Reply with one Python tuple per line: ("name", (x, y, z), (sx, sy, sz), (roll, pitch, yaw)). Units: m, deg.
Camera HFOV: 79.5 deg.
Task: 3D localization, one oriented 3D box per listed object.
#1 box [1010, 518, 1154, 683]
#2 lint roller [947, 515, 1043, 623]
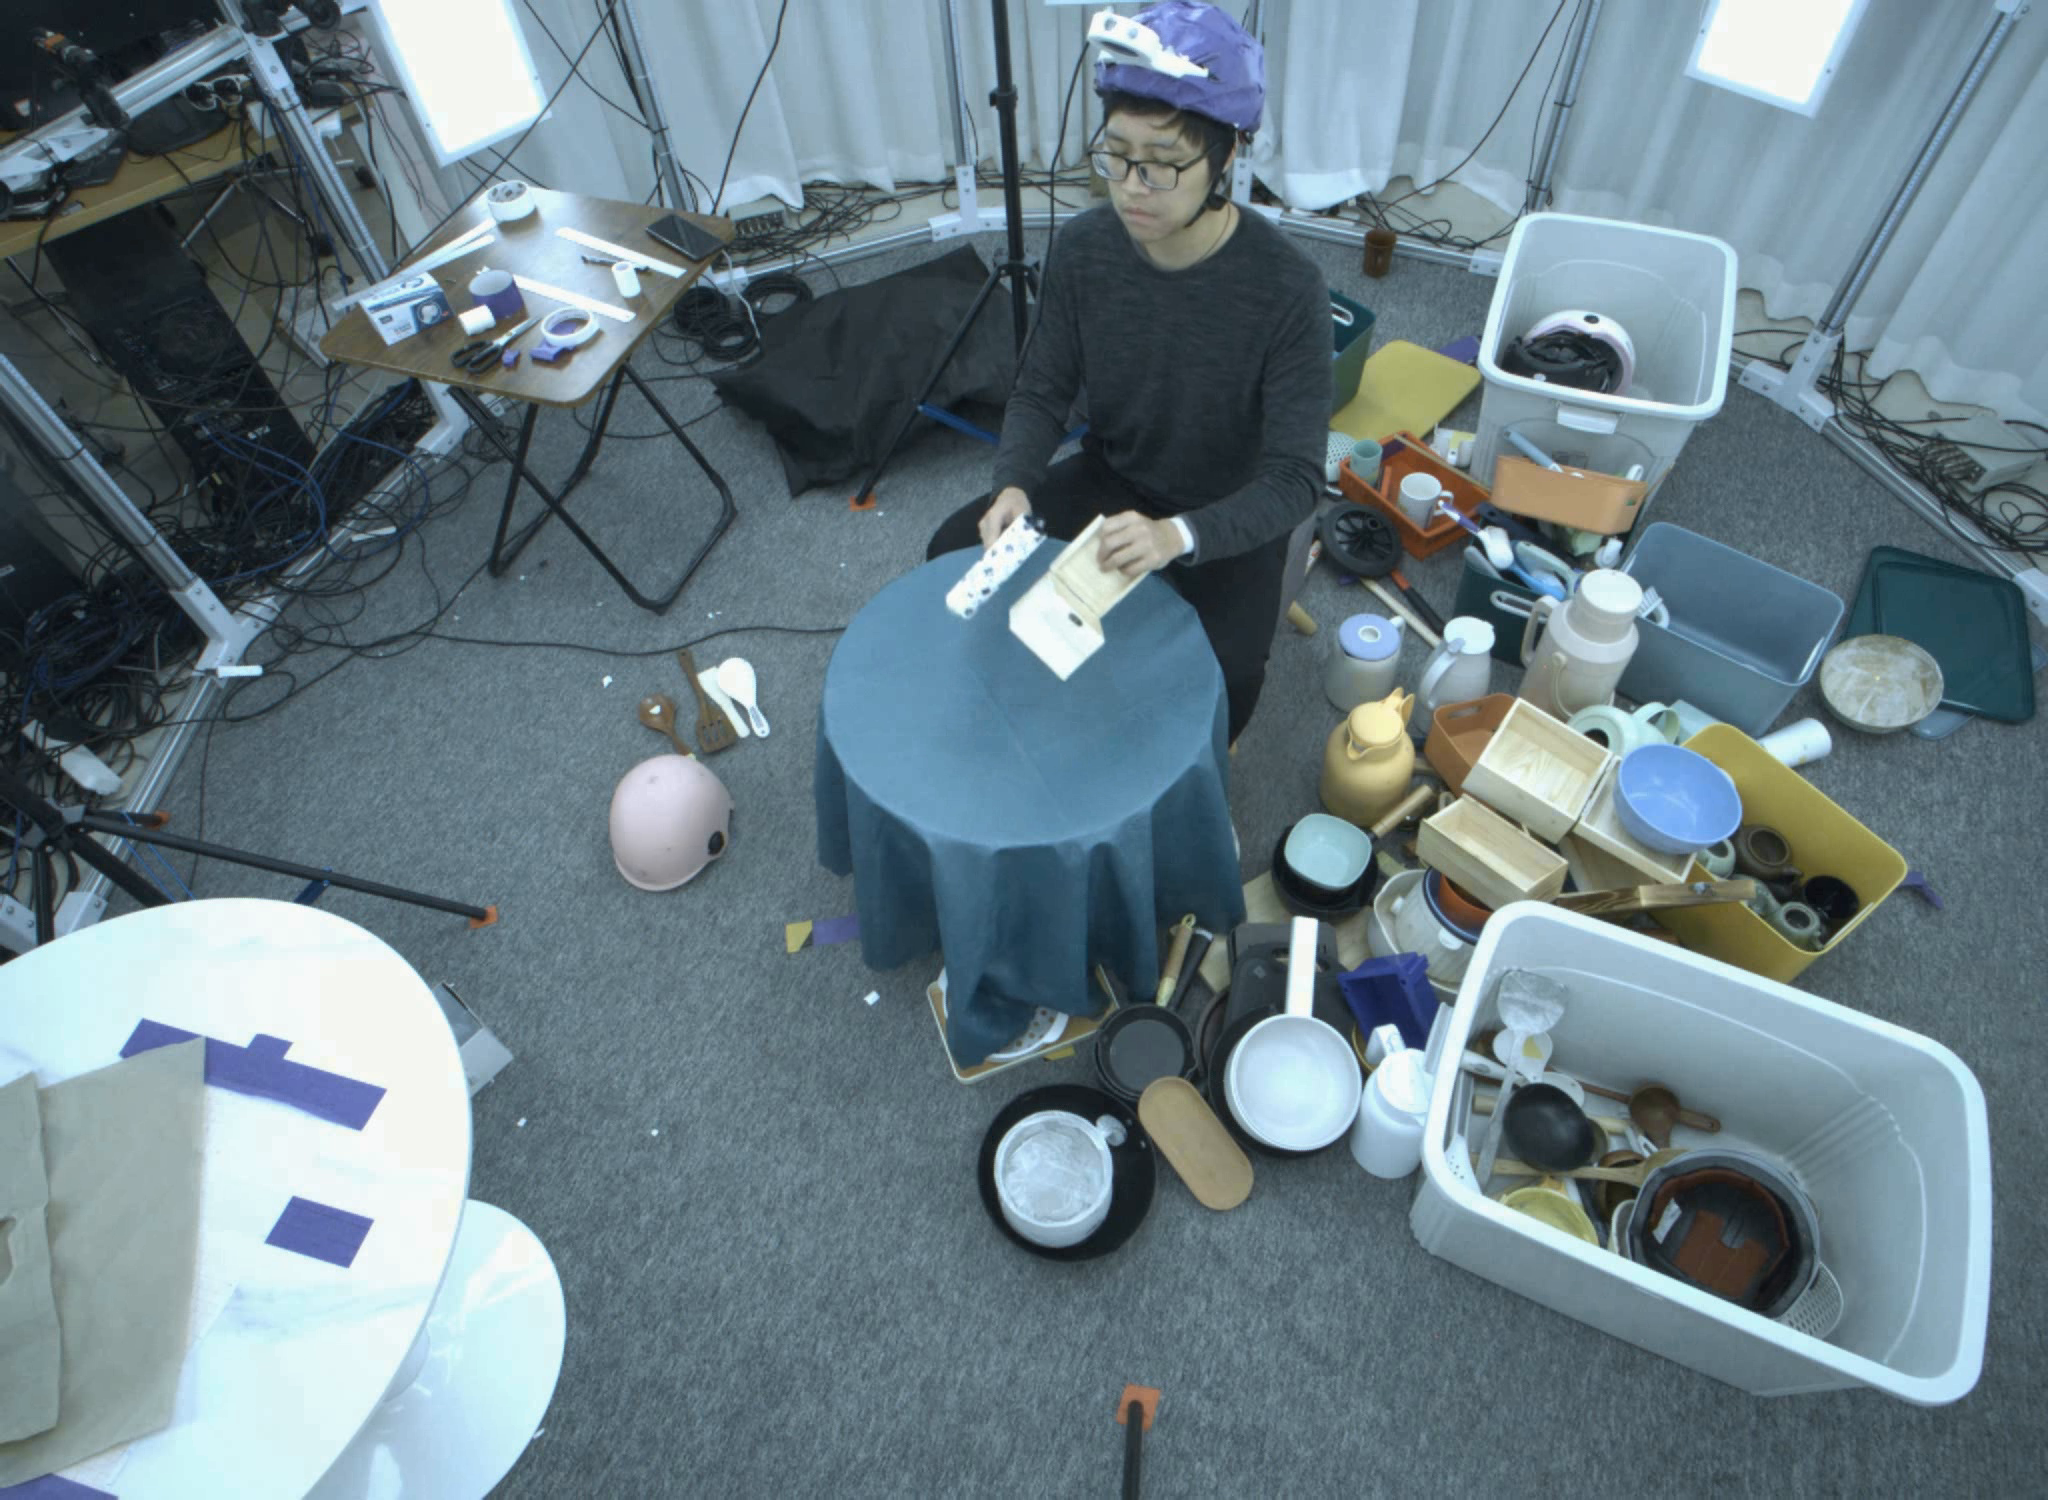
("box", (0.081, -0.203, 1.655), (0.183, 0.104, 0.132), (-43, 19, 15))
("lint roller", (-0.033, -0.289, 1.780), (0.051, 0.175, 0.245), (38, 23, -13))
